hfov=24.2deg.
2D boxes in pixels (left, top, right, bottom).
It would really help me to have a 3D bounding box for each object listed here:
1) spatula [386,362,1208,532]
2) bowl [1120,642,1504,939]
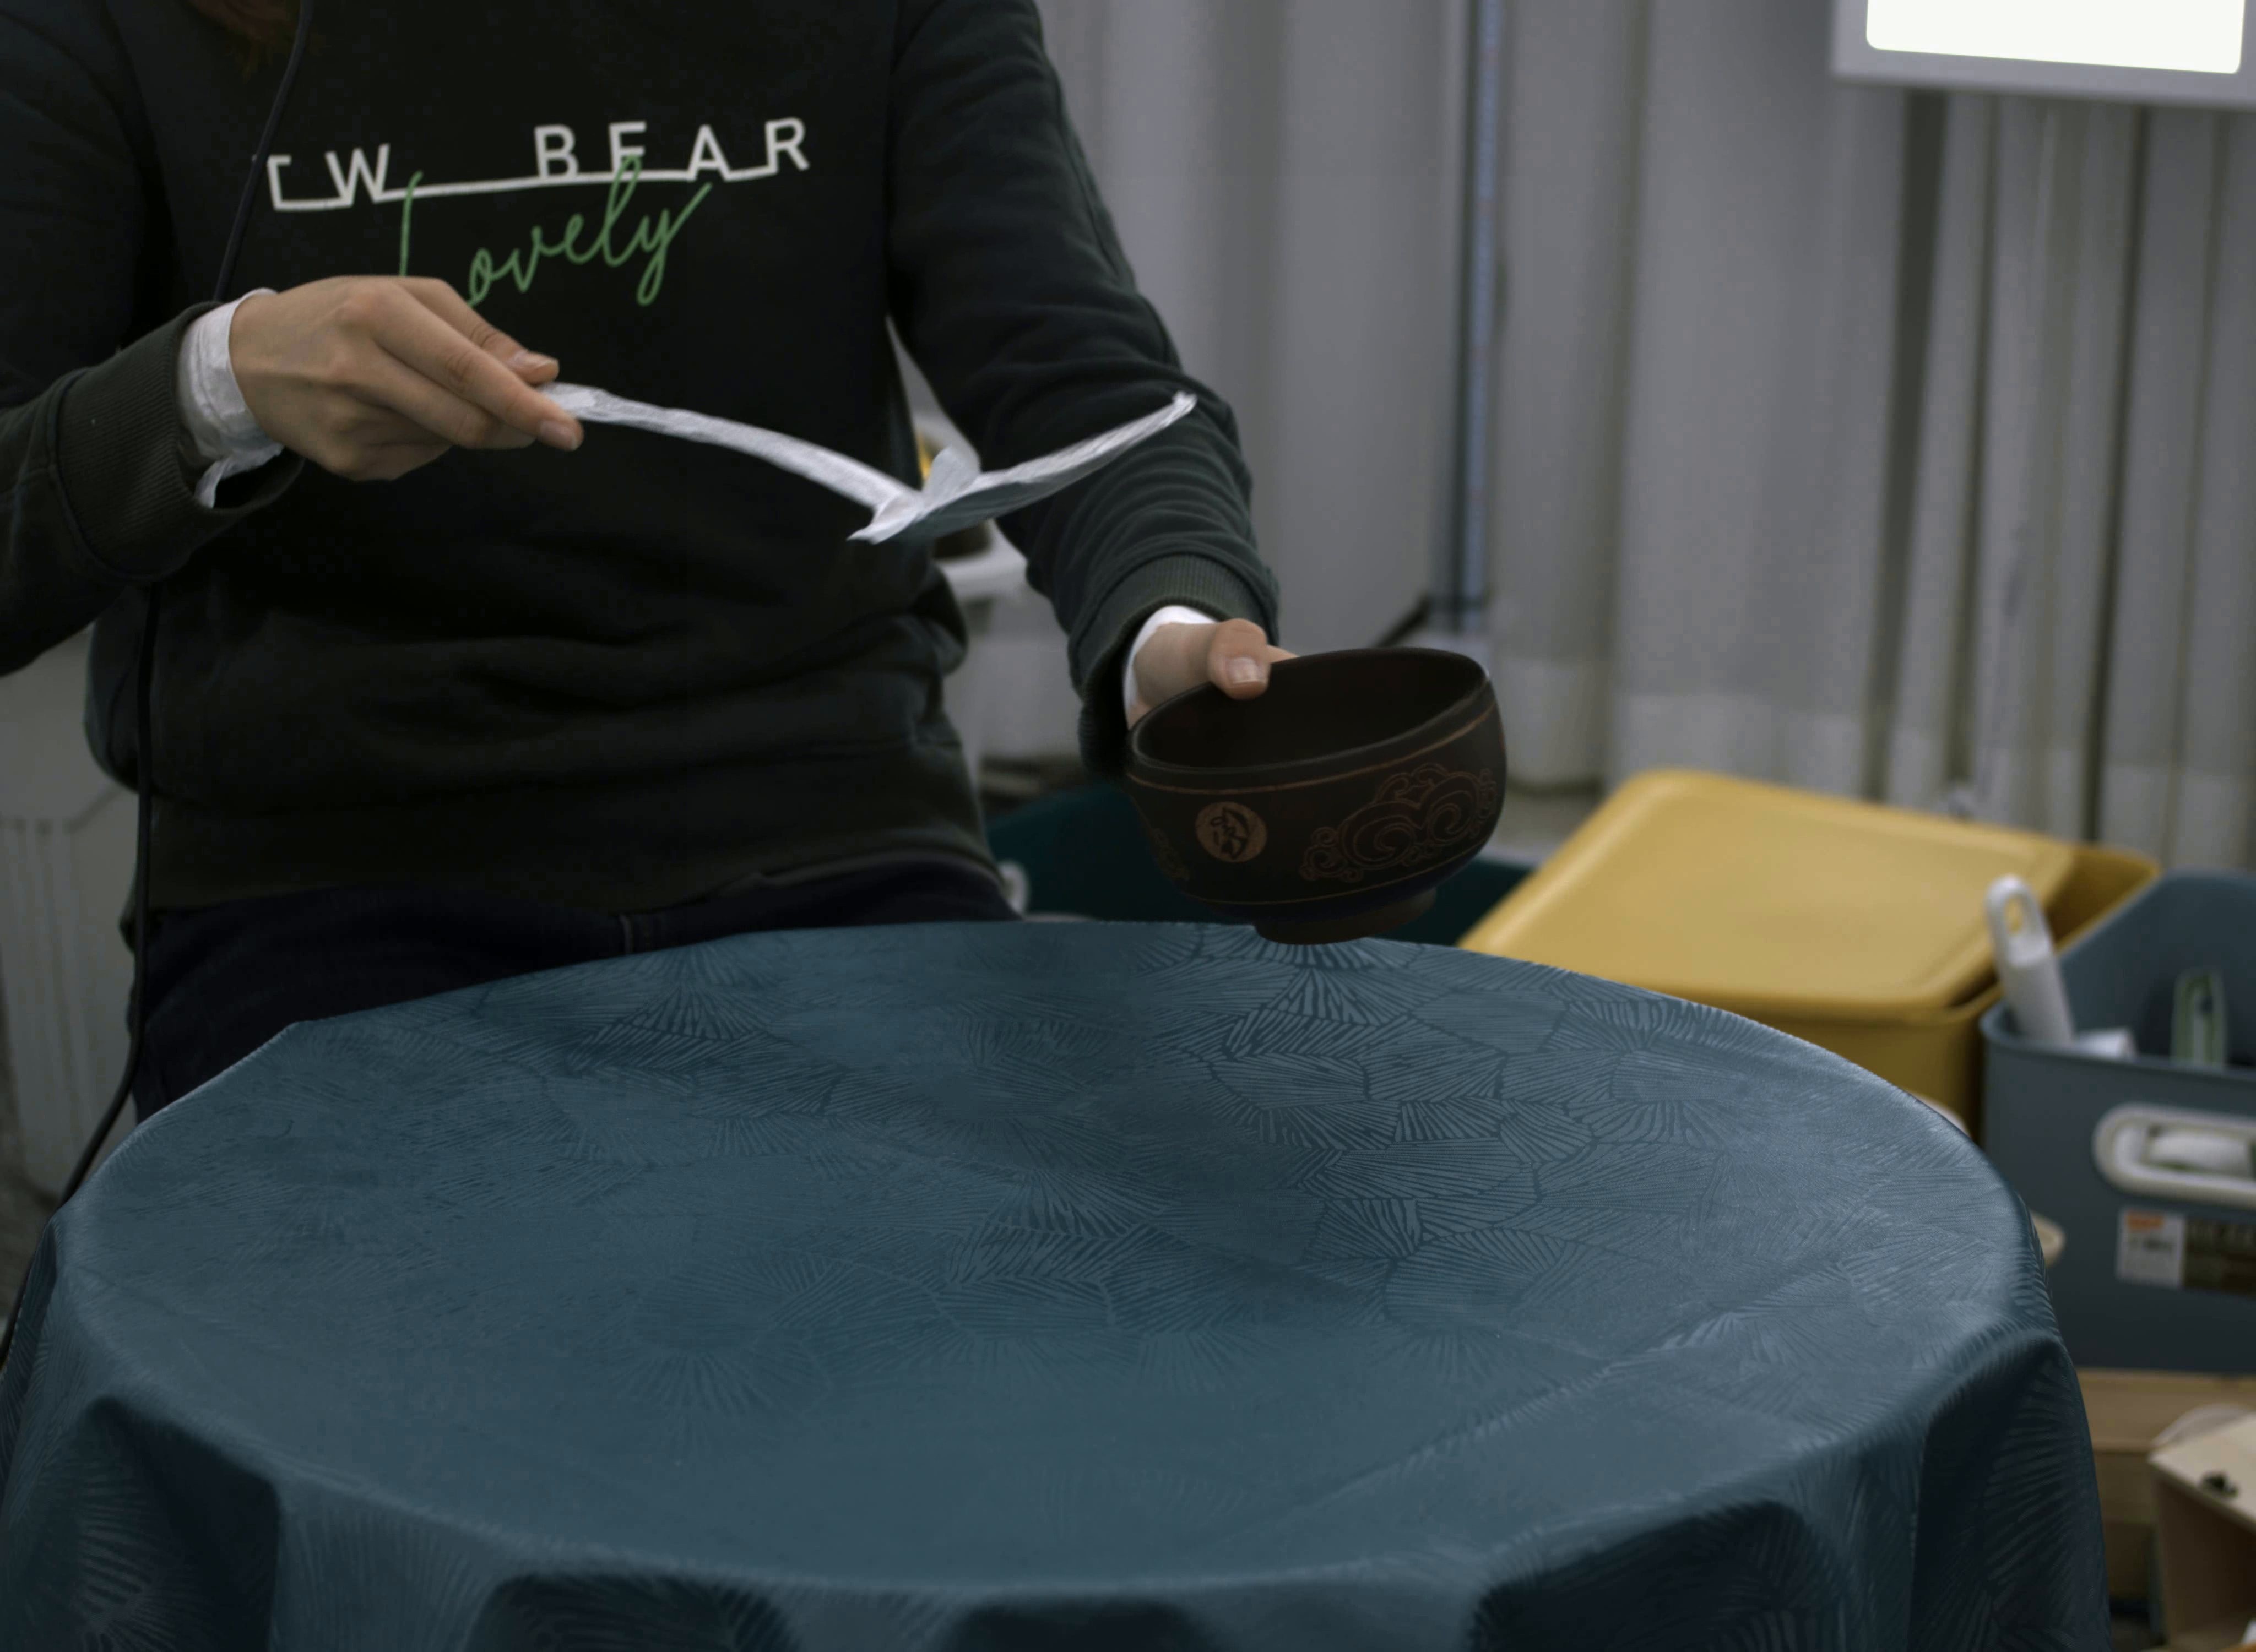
[{"bbox_3d":[-0.128,-0.134,1.682,0.360,0.045,0.099,15,32,40],"label":"spatula"},{"bbox_3d":[0.060,-0.007,1.636,0.117,0.070,0.117,-9,17,4],"label":"bowl"}]
